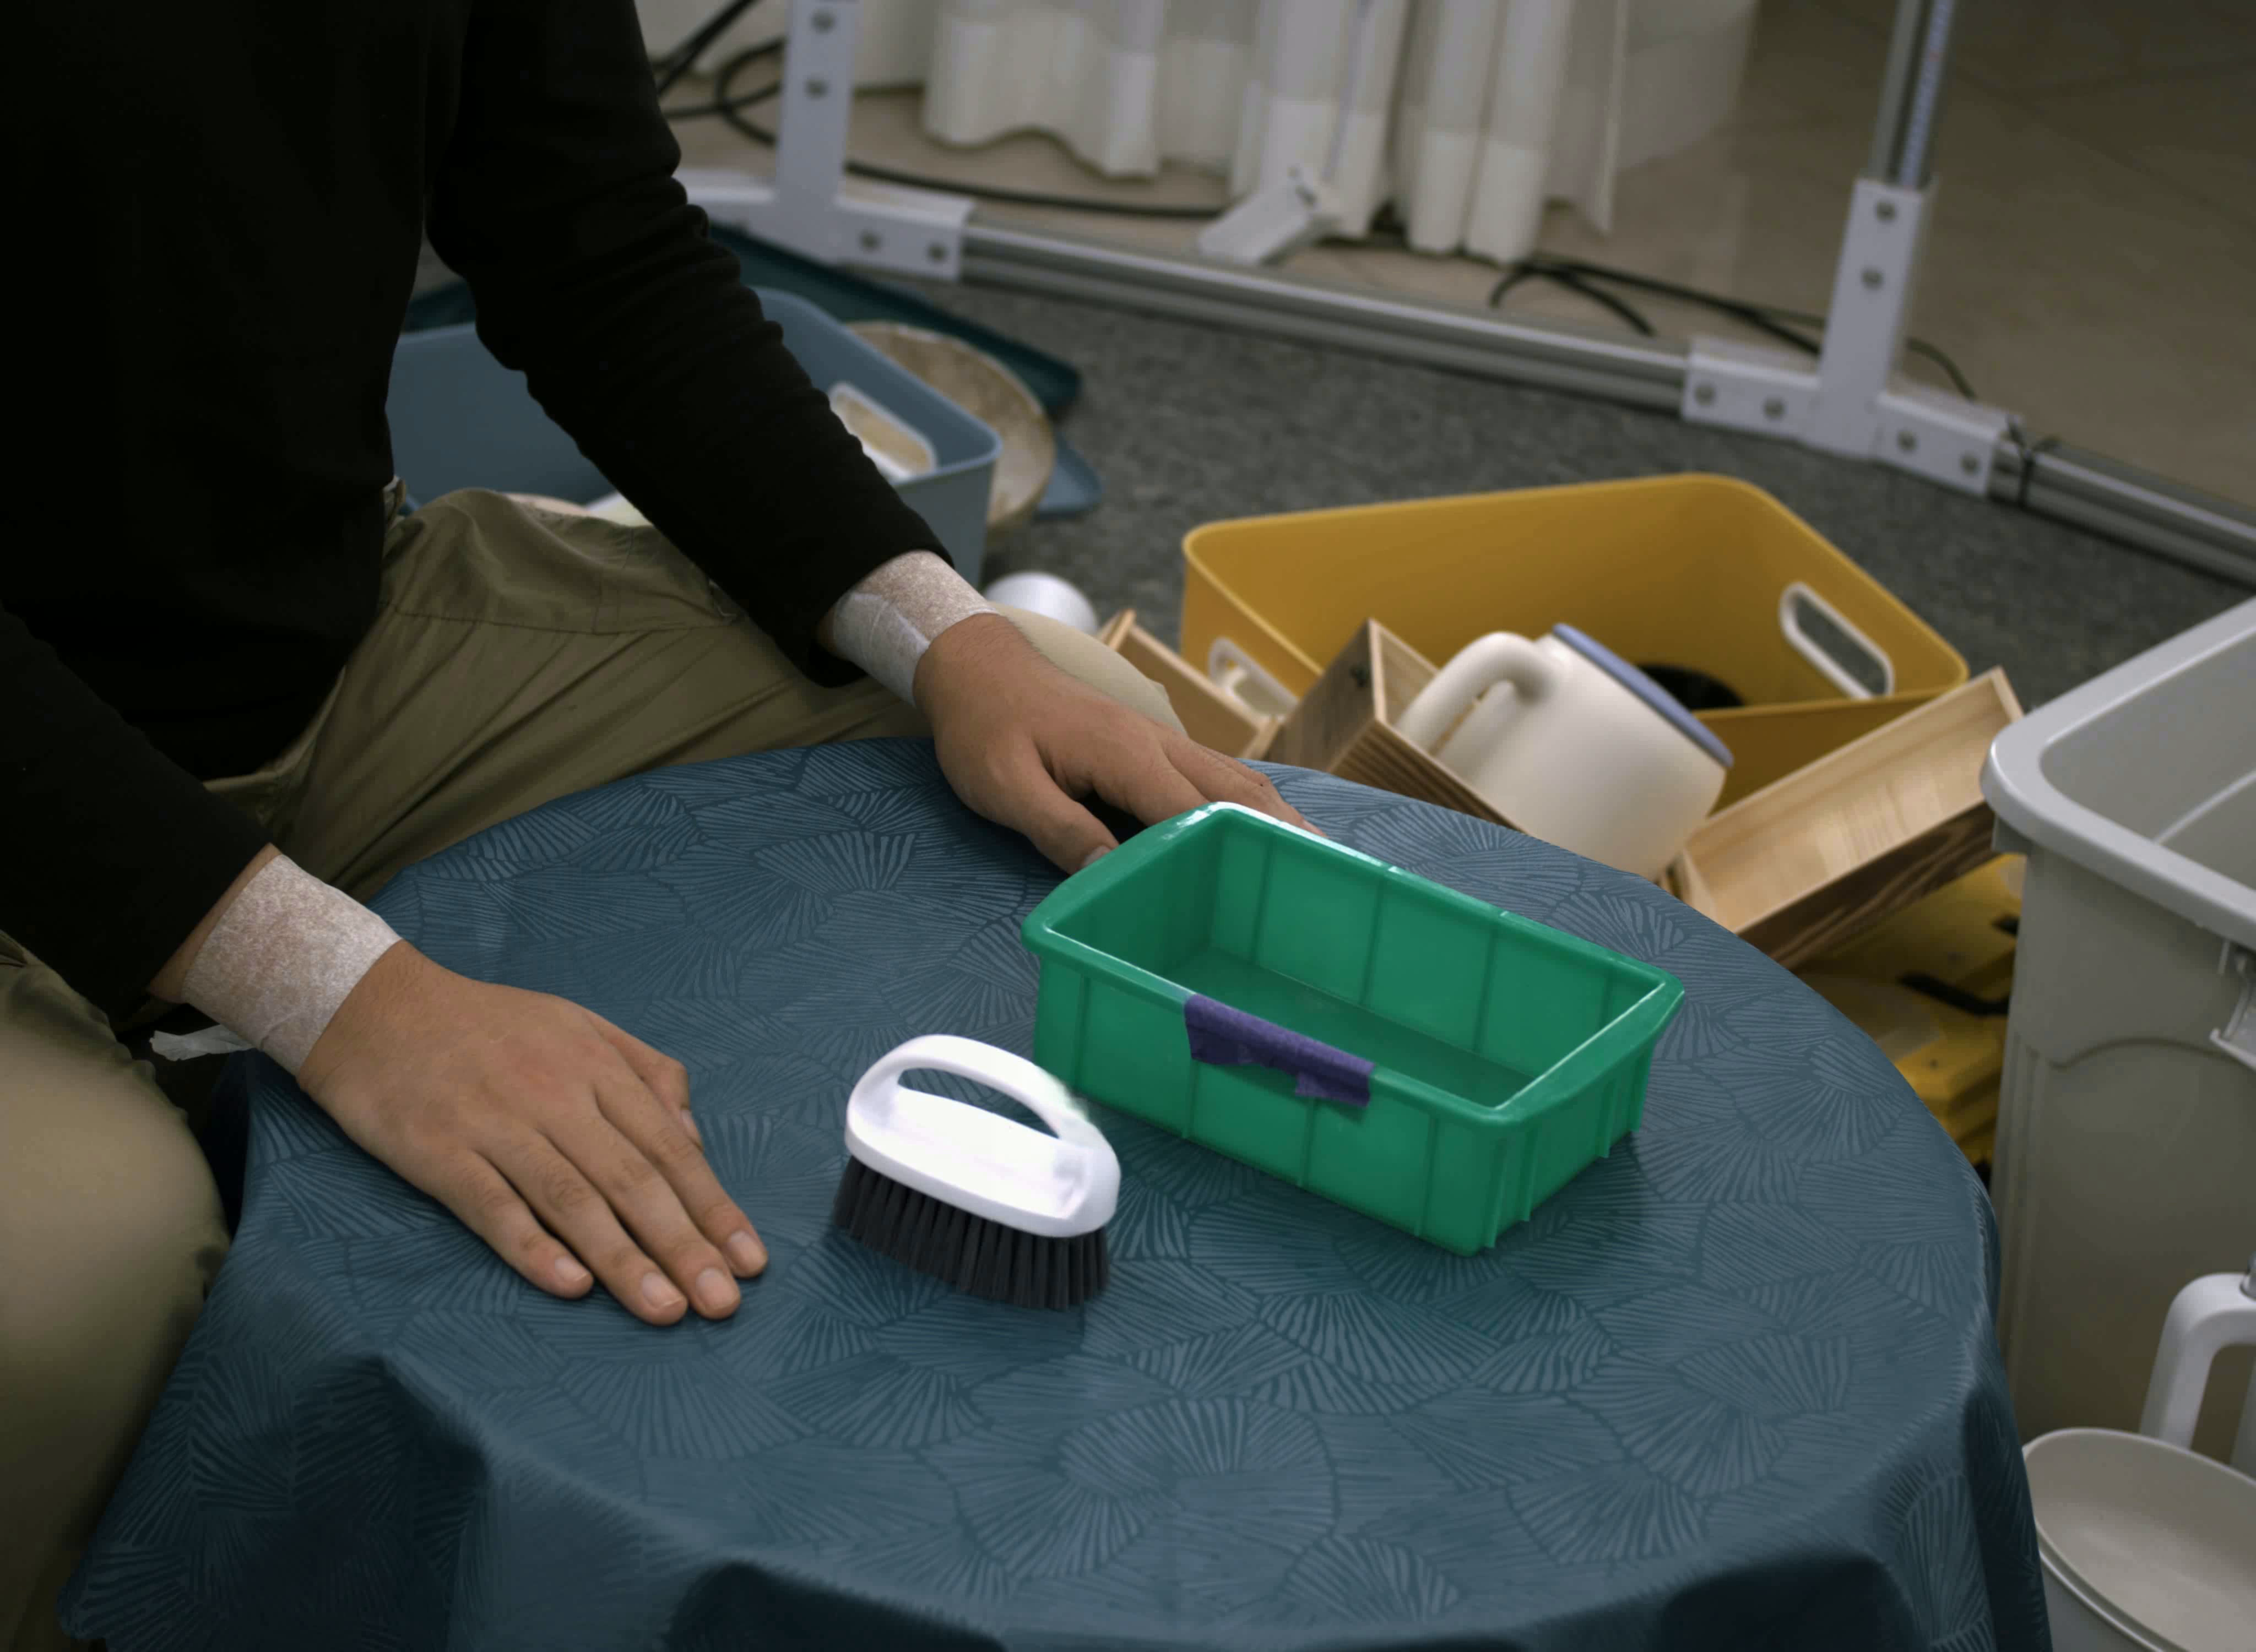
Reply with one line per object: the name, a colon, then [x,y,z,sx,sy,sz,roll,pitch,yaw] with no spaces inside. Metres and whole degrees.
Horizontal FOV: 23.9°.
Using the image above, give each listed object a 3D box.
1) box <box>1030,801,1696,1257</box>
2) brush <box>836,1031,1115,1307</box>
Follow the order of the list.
box: [0.079,0.071,1.855,0.211,0.065,0.138,22,33,25]
brush: [-0.049,0.106,1.745,0.100,0.072,0.050,22,31,28]
